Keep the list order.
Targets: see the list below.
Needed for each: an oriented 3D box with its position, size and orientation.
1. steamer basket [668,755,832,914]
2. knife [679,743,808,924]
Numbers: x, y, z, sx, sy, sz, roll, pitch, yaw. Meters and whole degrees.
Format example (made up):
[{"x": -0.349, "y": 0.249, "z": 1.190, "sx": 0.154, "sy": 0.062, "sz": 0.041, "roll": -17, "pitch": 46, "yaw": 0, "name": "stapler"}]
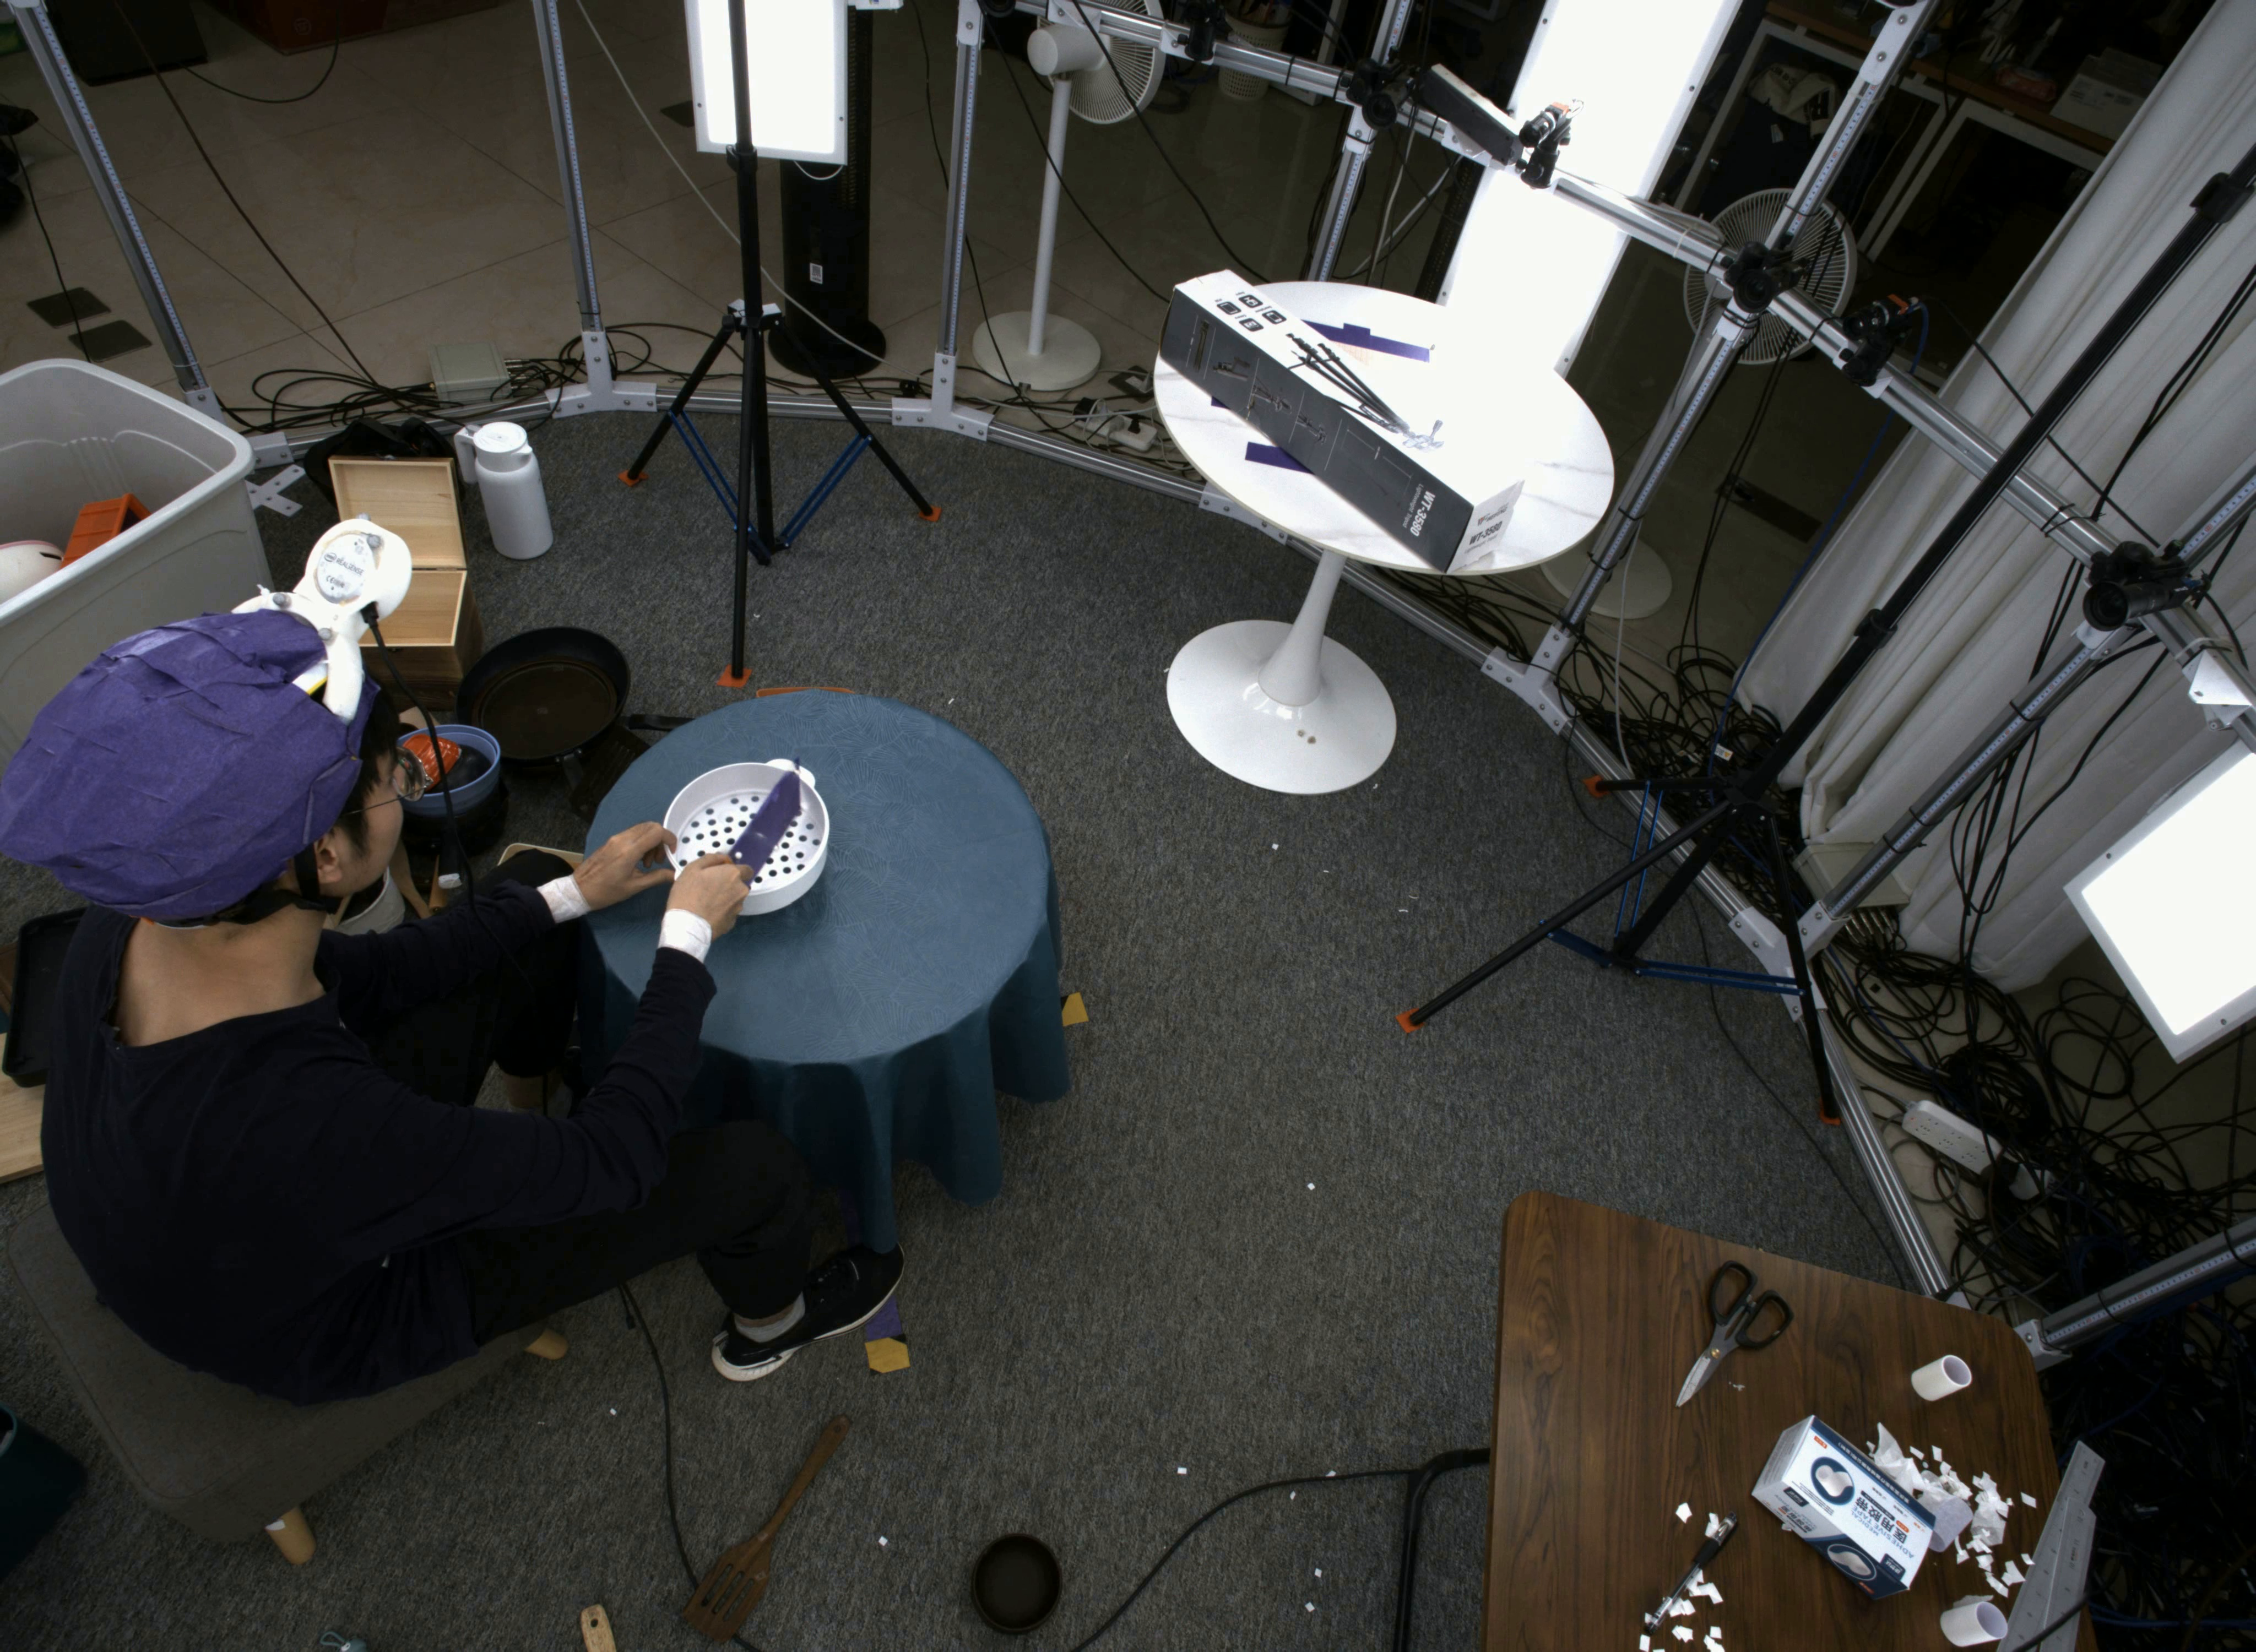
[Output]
[{"x": -0.474, "y": 0.014, "z": 1.634, "sx": 0.198, "sy": 0.071, "sz": 0.229, "roll": 25, "pitch": 58, "yaw": 8, "name": "steamer basket"}, {"x": -0.446, "y": 0.026, "z": 1.538, "sx": 0.032, "sy": 0.107, "sz": 0.311, "roll": 13, "pitch": 39, "yaw": 6, "name": "knife"}]
